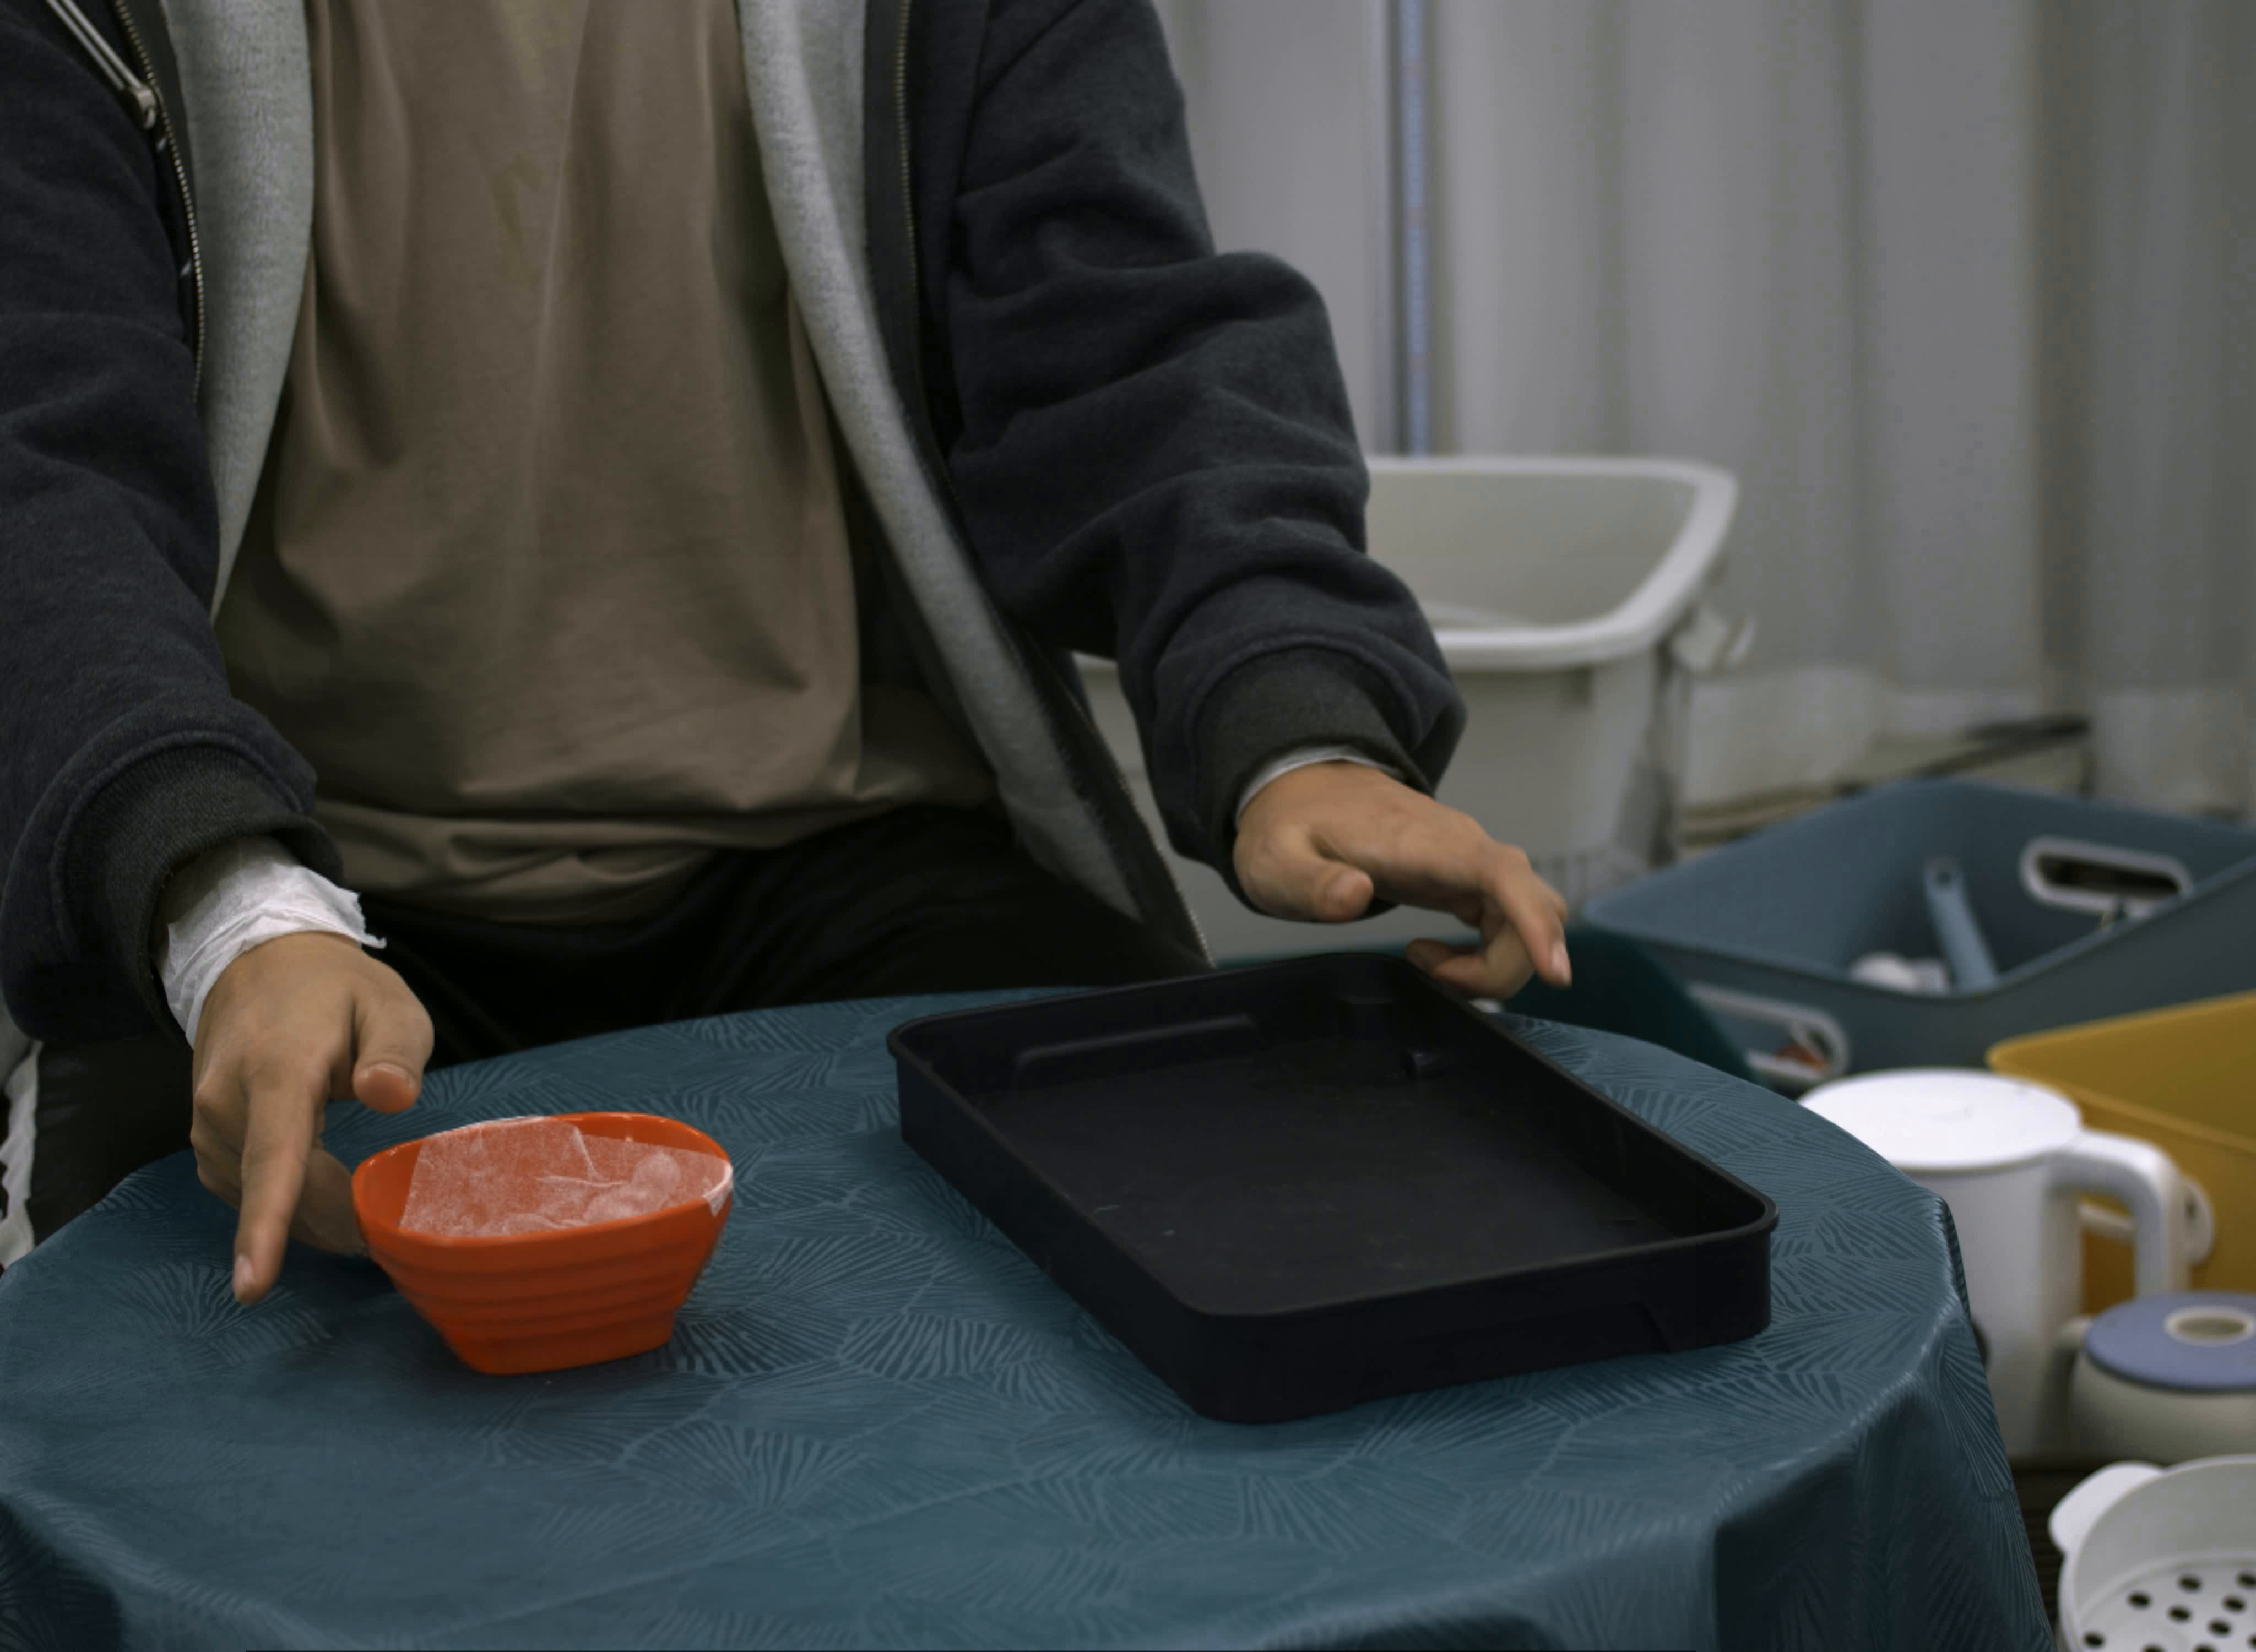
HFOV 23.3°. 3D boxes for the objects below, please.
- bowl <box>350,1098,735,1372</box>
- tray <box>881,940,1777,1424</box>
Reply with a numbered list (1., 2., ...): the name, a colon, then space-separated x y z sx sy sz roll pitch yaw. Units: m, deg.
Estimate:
1. bowl: -0.171 0.123 1.611 0.118 0.051 0.120 -3 17 1
2. tray: 0.054 0.103 1.676 0.183 0.037 0.320 -8 16 -18
